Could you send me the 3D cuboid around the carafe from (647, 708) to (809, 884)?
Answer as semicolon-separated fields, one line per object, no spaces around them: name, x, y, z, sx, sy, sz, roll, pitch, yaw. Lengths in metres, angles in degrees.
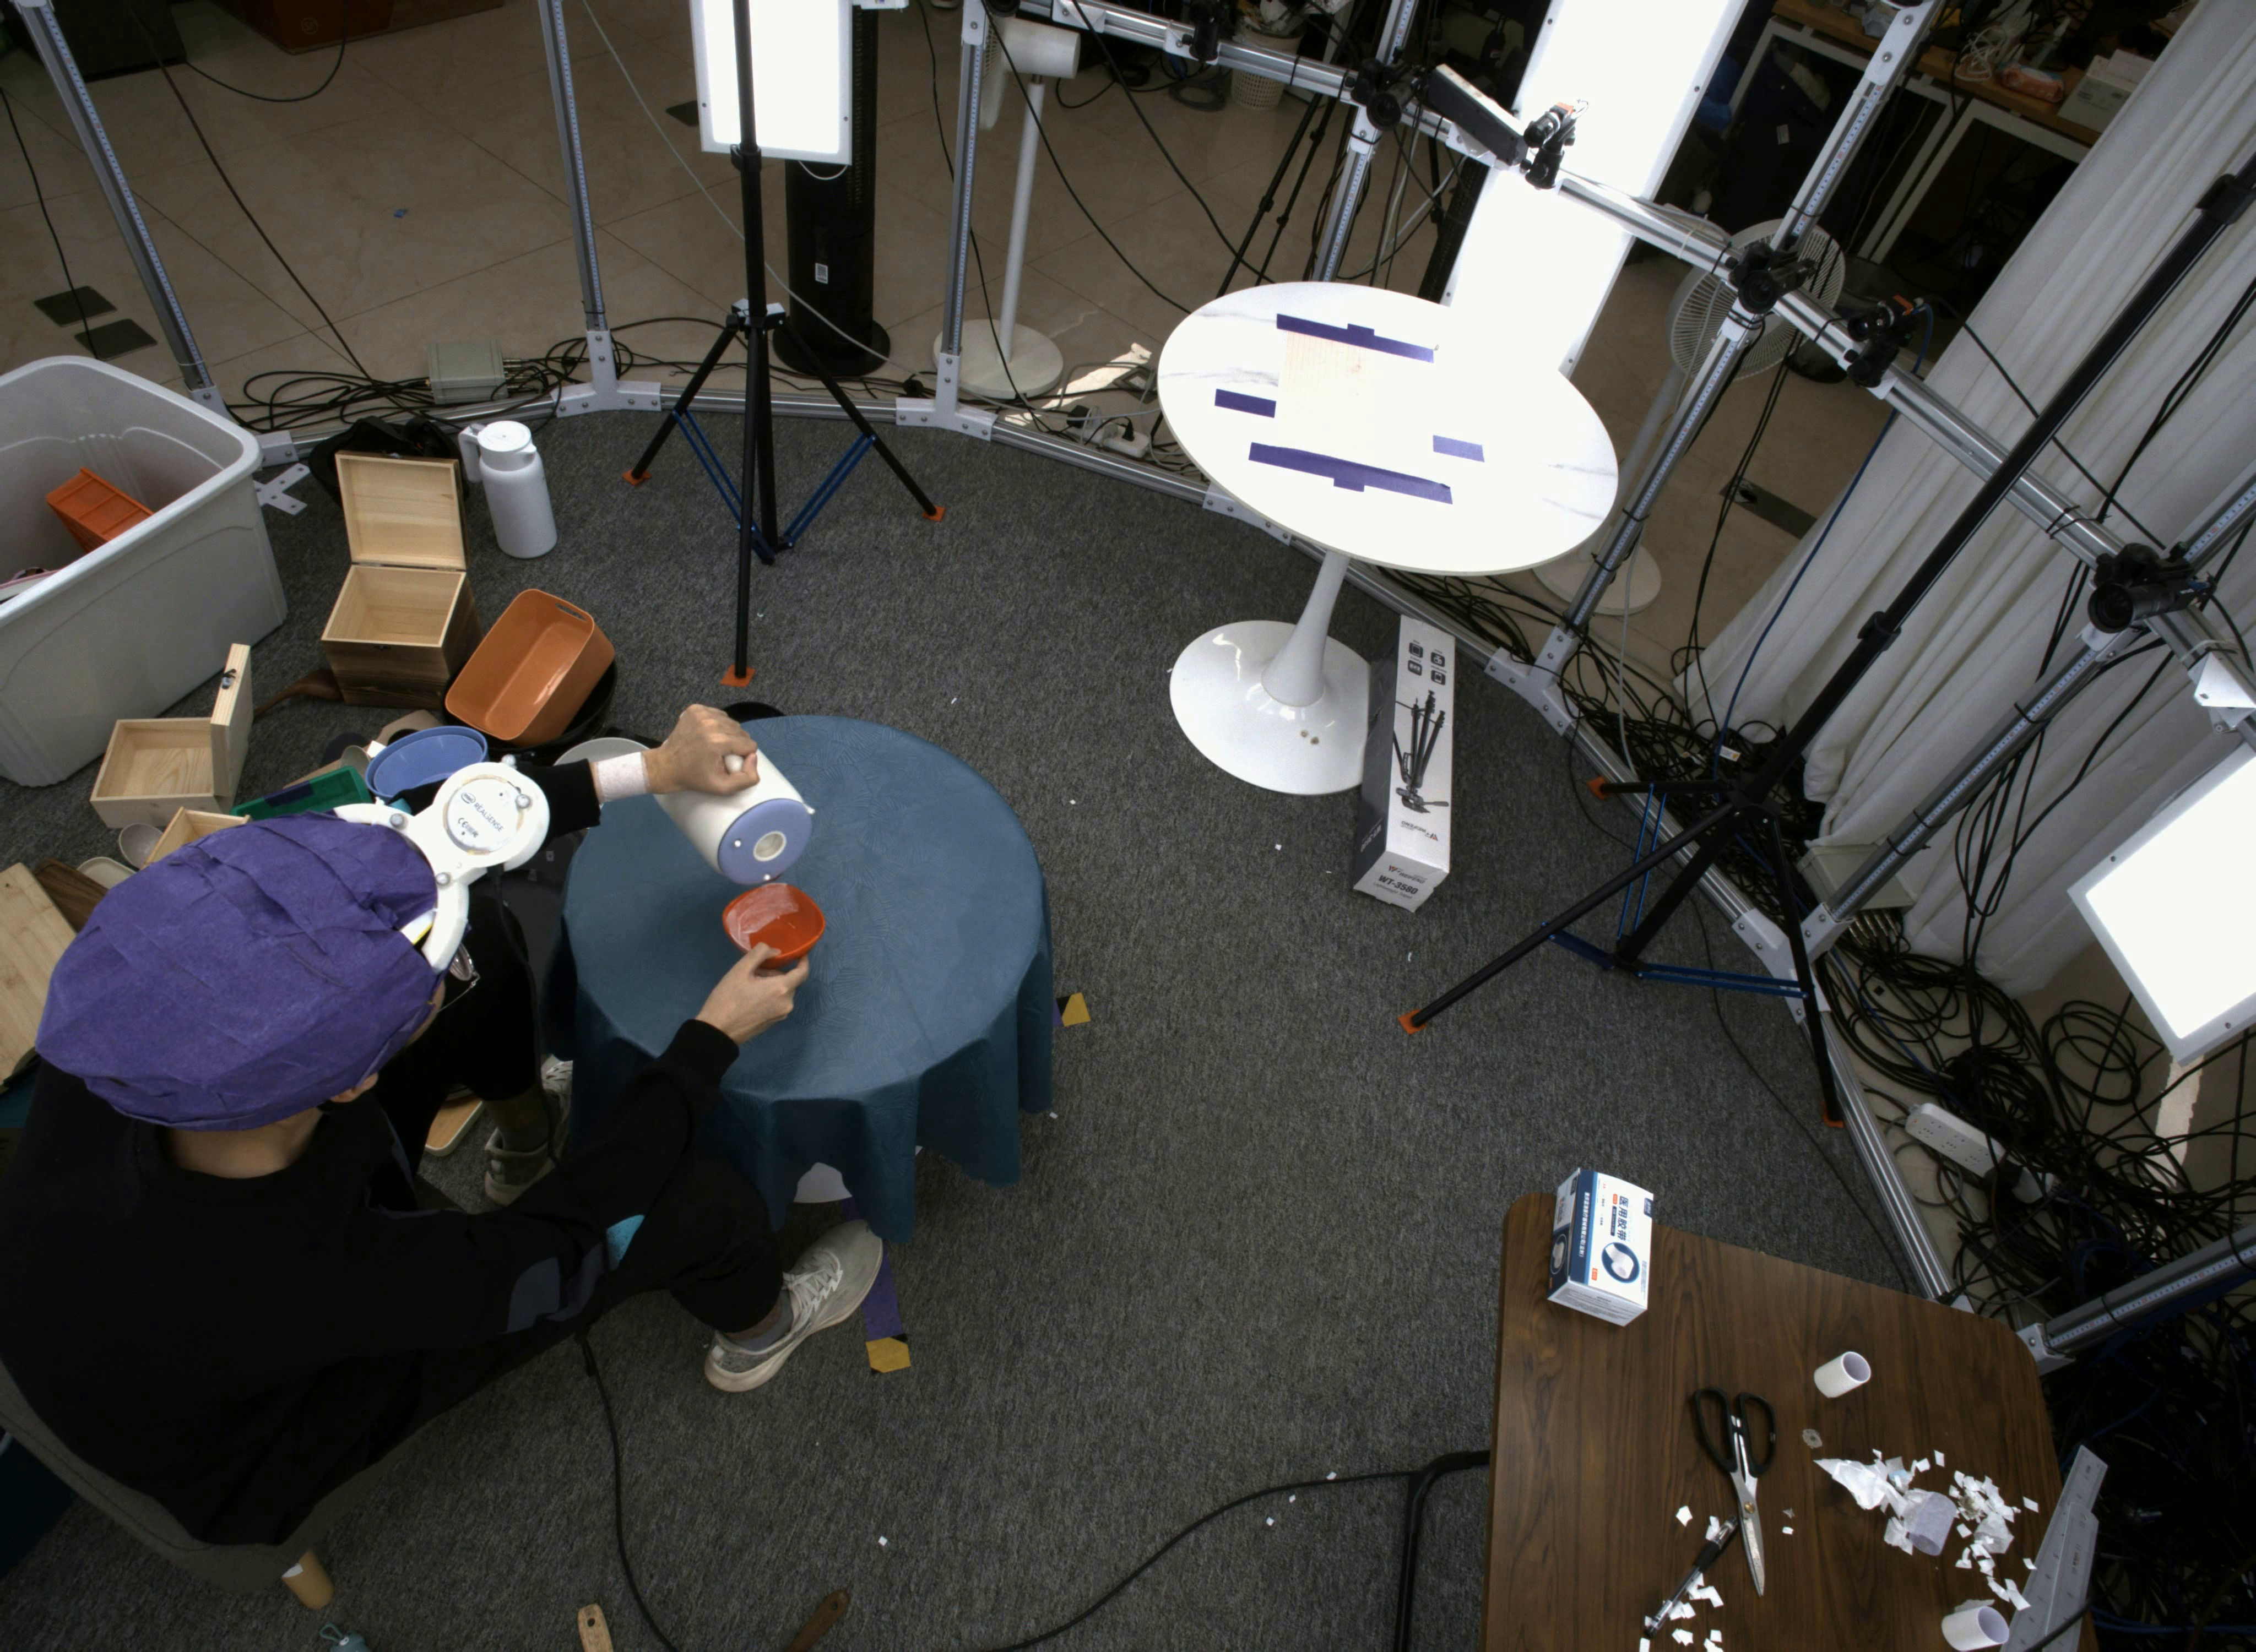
carafe;-0.469;-0.048;1.491;0.132;0.197;0.176;-34;55;-26

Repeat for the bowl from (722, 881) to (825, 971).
bowl;-0.422;0.124;1.539;0.119;0.052;0.116;13;43;-10
